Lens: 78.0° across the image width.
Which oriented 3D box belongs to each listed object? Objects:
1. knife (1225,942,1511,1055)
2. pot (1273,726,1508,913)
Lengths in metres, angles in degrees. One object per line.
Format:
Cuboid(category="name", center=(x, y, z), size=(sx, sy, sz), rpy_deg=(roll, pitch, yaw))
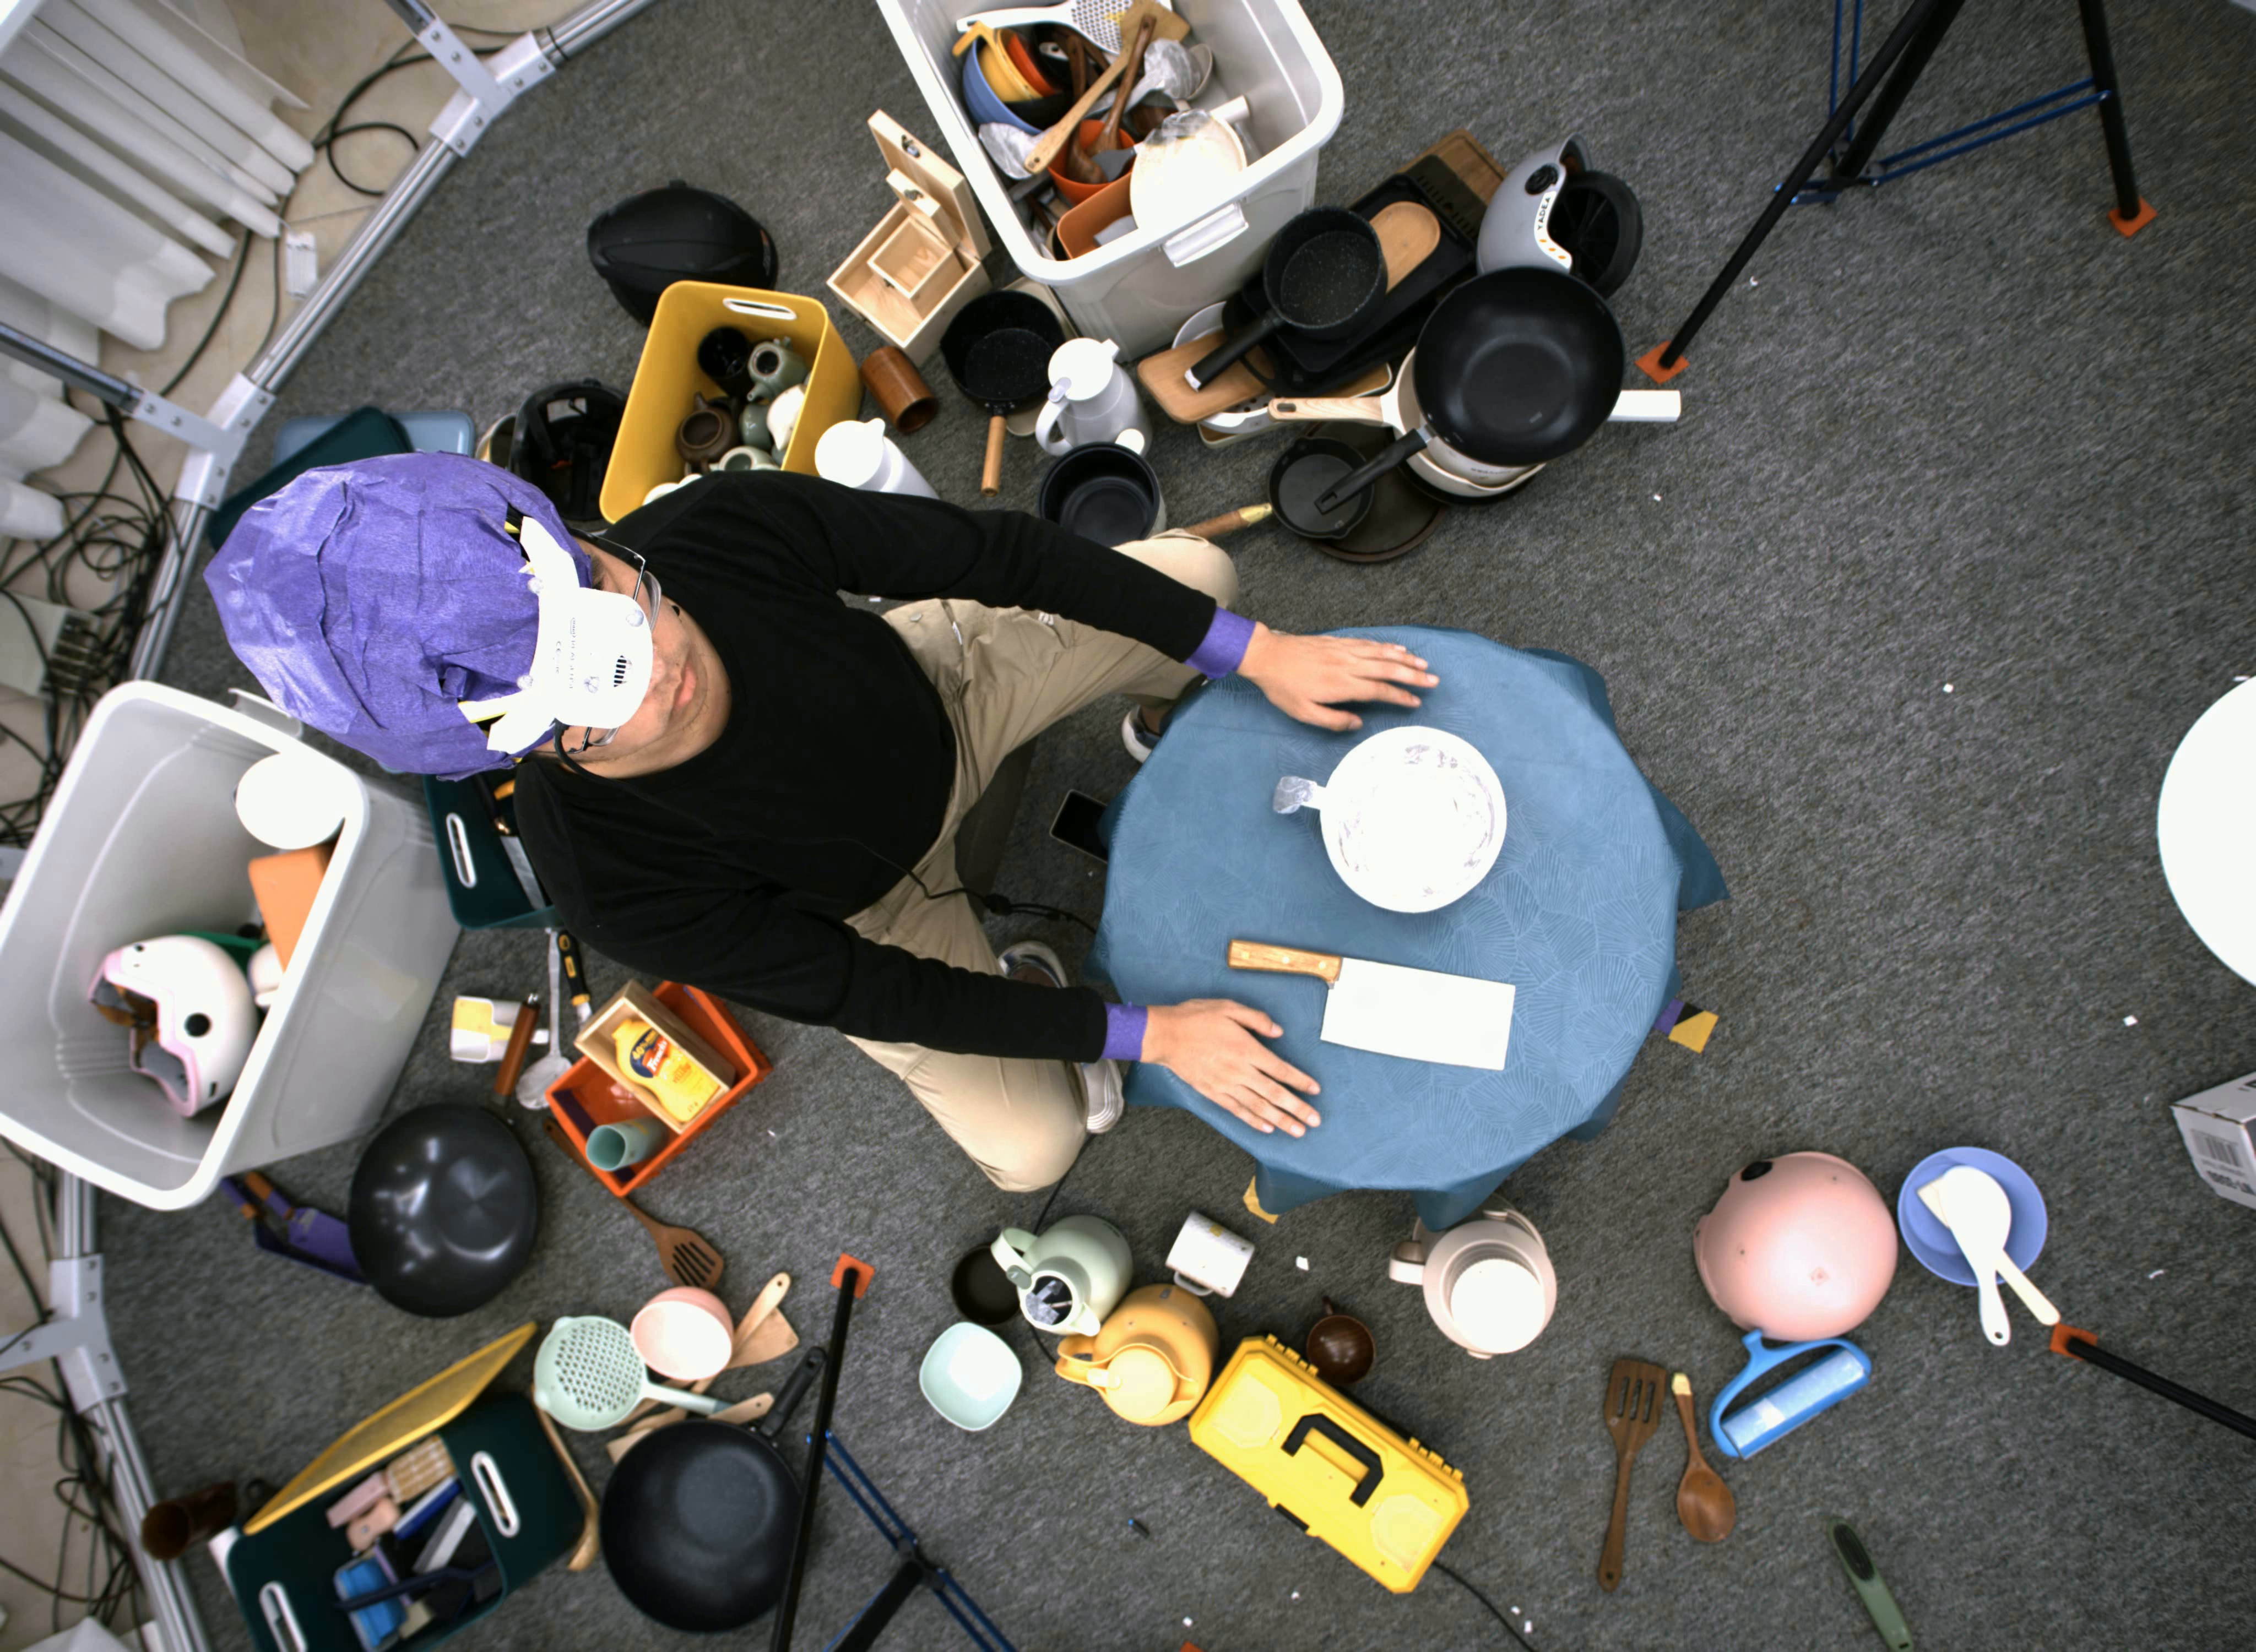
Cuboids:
Cuboid(category="knife", center=(0.247, 0.182, 1.454), size=(0.306, 0.021, 0.092), rpy_deg=(9, 88, 10))
Cuboid(category="pot", center=(0.260, -0.010, 1.396), size=(0.234, 0.137, 0.178), rpy_deg=(13, 88, 10))
